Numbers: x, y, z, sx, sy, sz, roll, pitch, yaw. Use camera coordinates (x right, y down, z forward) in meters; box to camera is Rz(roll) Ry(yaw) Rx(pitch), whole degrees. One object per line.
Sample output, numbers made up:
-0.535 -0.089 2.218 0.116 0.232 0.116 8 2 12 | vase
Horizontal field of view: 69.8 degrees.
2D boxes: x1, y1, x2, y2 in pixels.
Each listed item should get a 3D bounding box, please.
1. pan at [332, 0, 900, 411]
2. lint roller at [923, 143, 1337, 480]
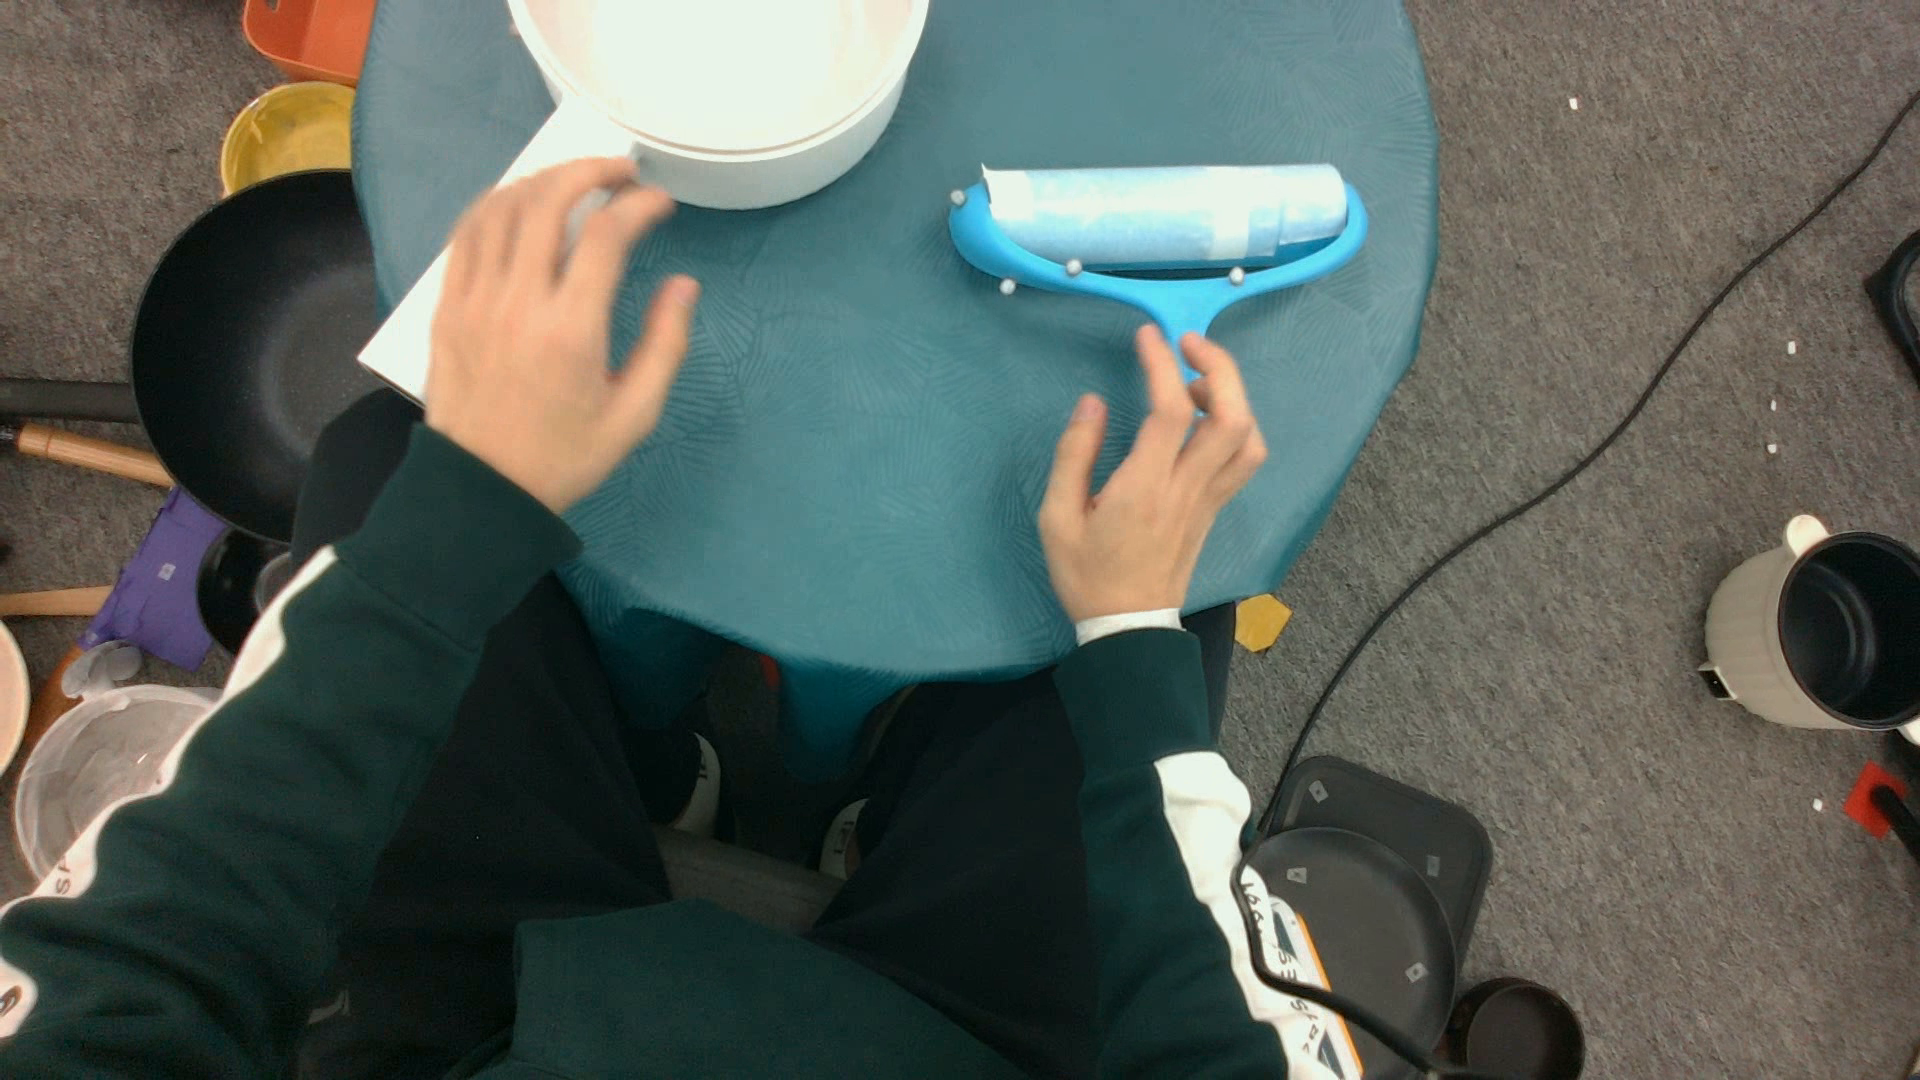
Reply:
-0.175 -0.210 0.689 0.201 0.102 0.355 34 79 -4 | pan
0.102 -0.126 0.741 0.229 0.068 0.180 -7 82 -12 | lint roller
